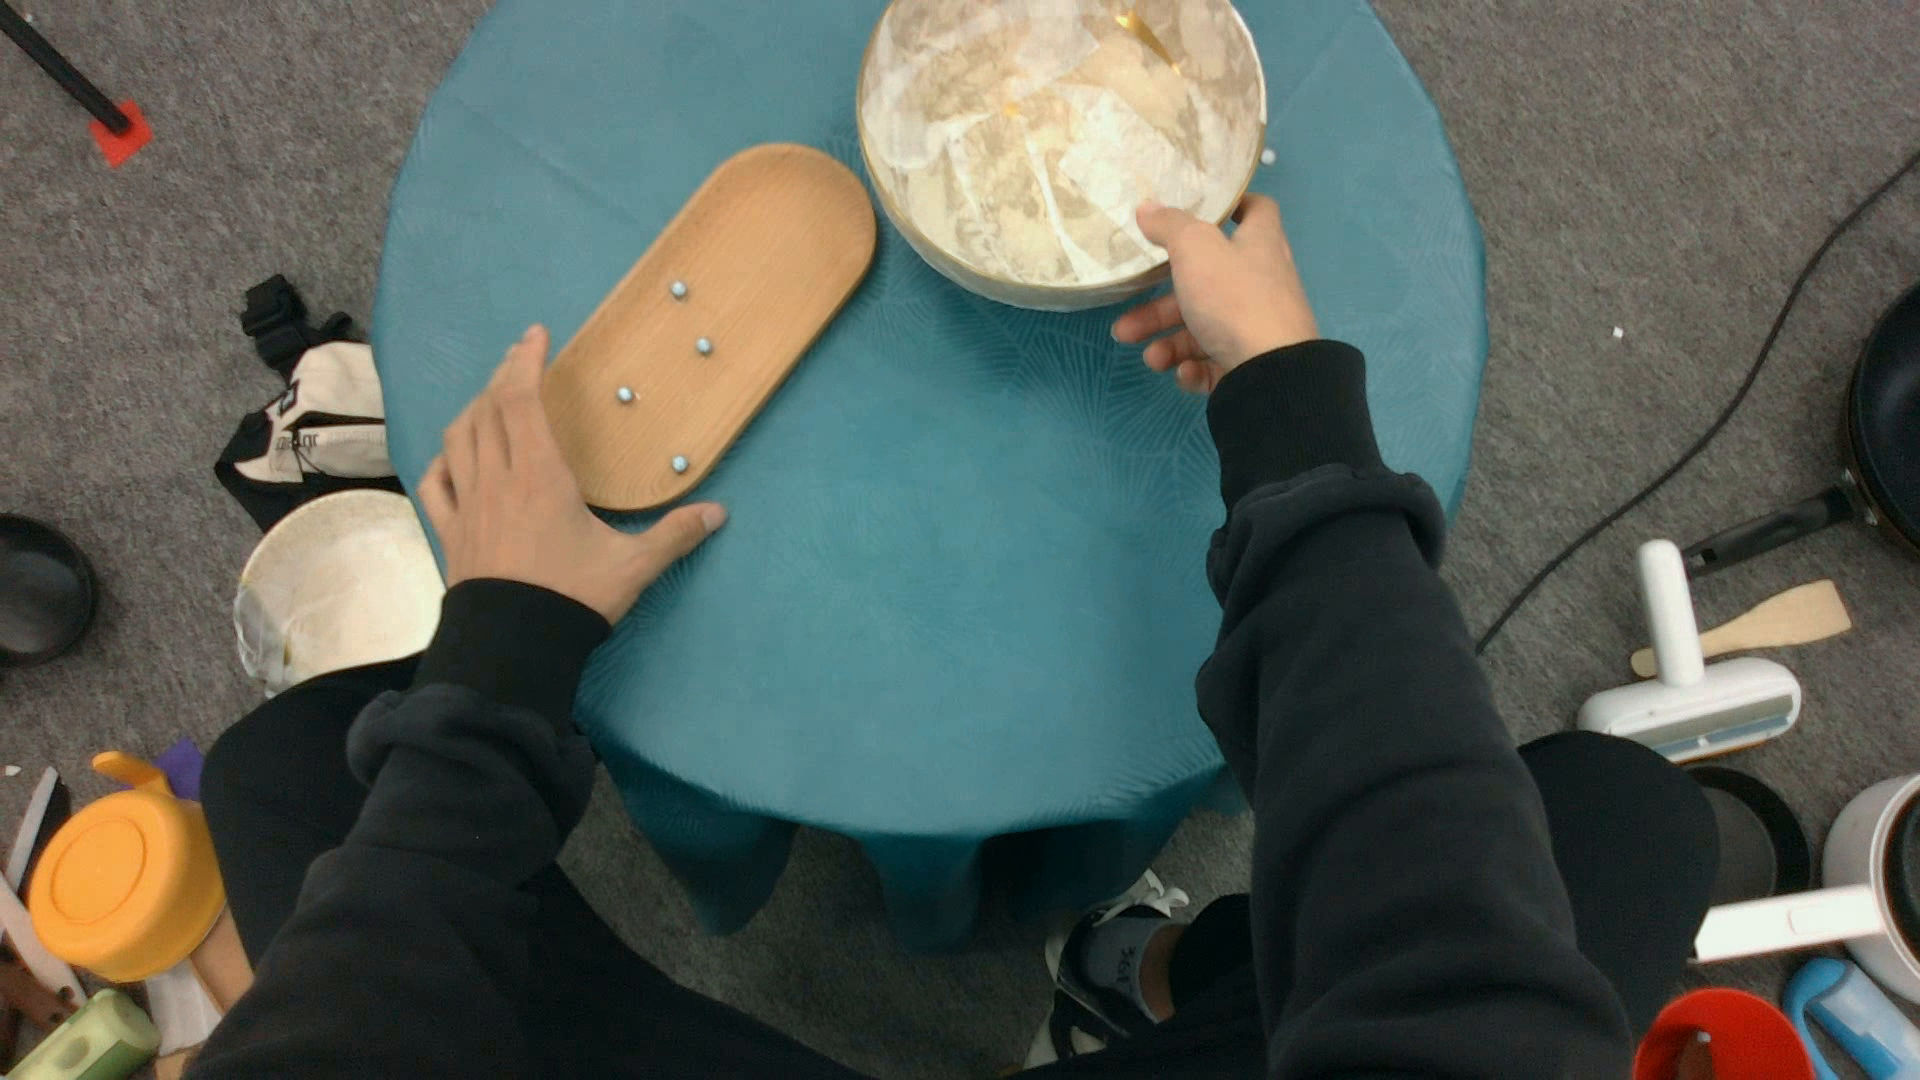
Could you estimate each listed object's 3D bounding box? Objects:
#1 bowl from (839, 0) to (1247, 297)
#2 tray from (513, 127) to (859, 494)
[{"bbox_3d":[0.037,-0.210,0.719,0.215,0.094,0.215,1,76,-2],"label":"bowl"},{"bbox_3d":[-0.143,-0.124,0.731,0.101,0.020,0.232,34,75,5],"label":"tray"}]
